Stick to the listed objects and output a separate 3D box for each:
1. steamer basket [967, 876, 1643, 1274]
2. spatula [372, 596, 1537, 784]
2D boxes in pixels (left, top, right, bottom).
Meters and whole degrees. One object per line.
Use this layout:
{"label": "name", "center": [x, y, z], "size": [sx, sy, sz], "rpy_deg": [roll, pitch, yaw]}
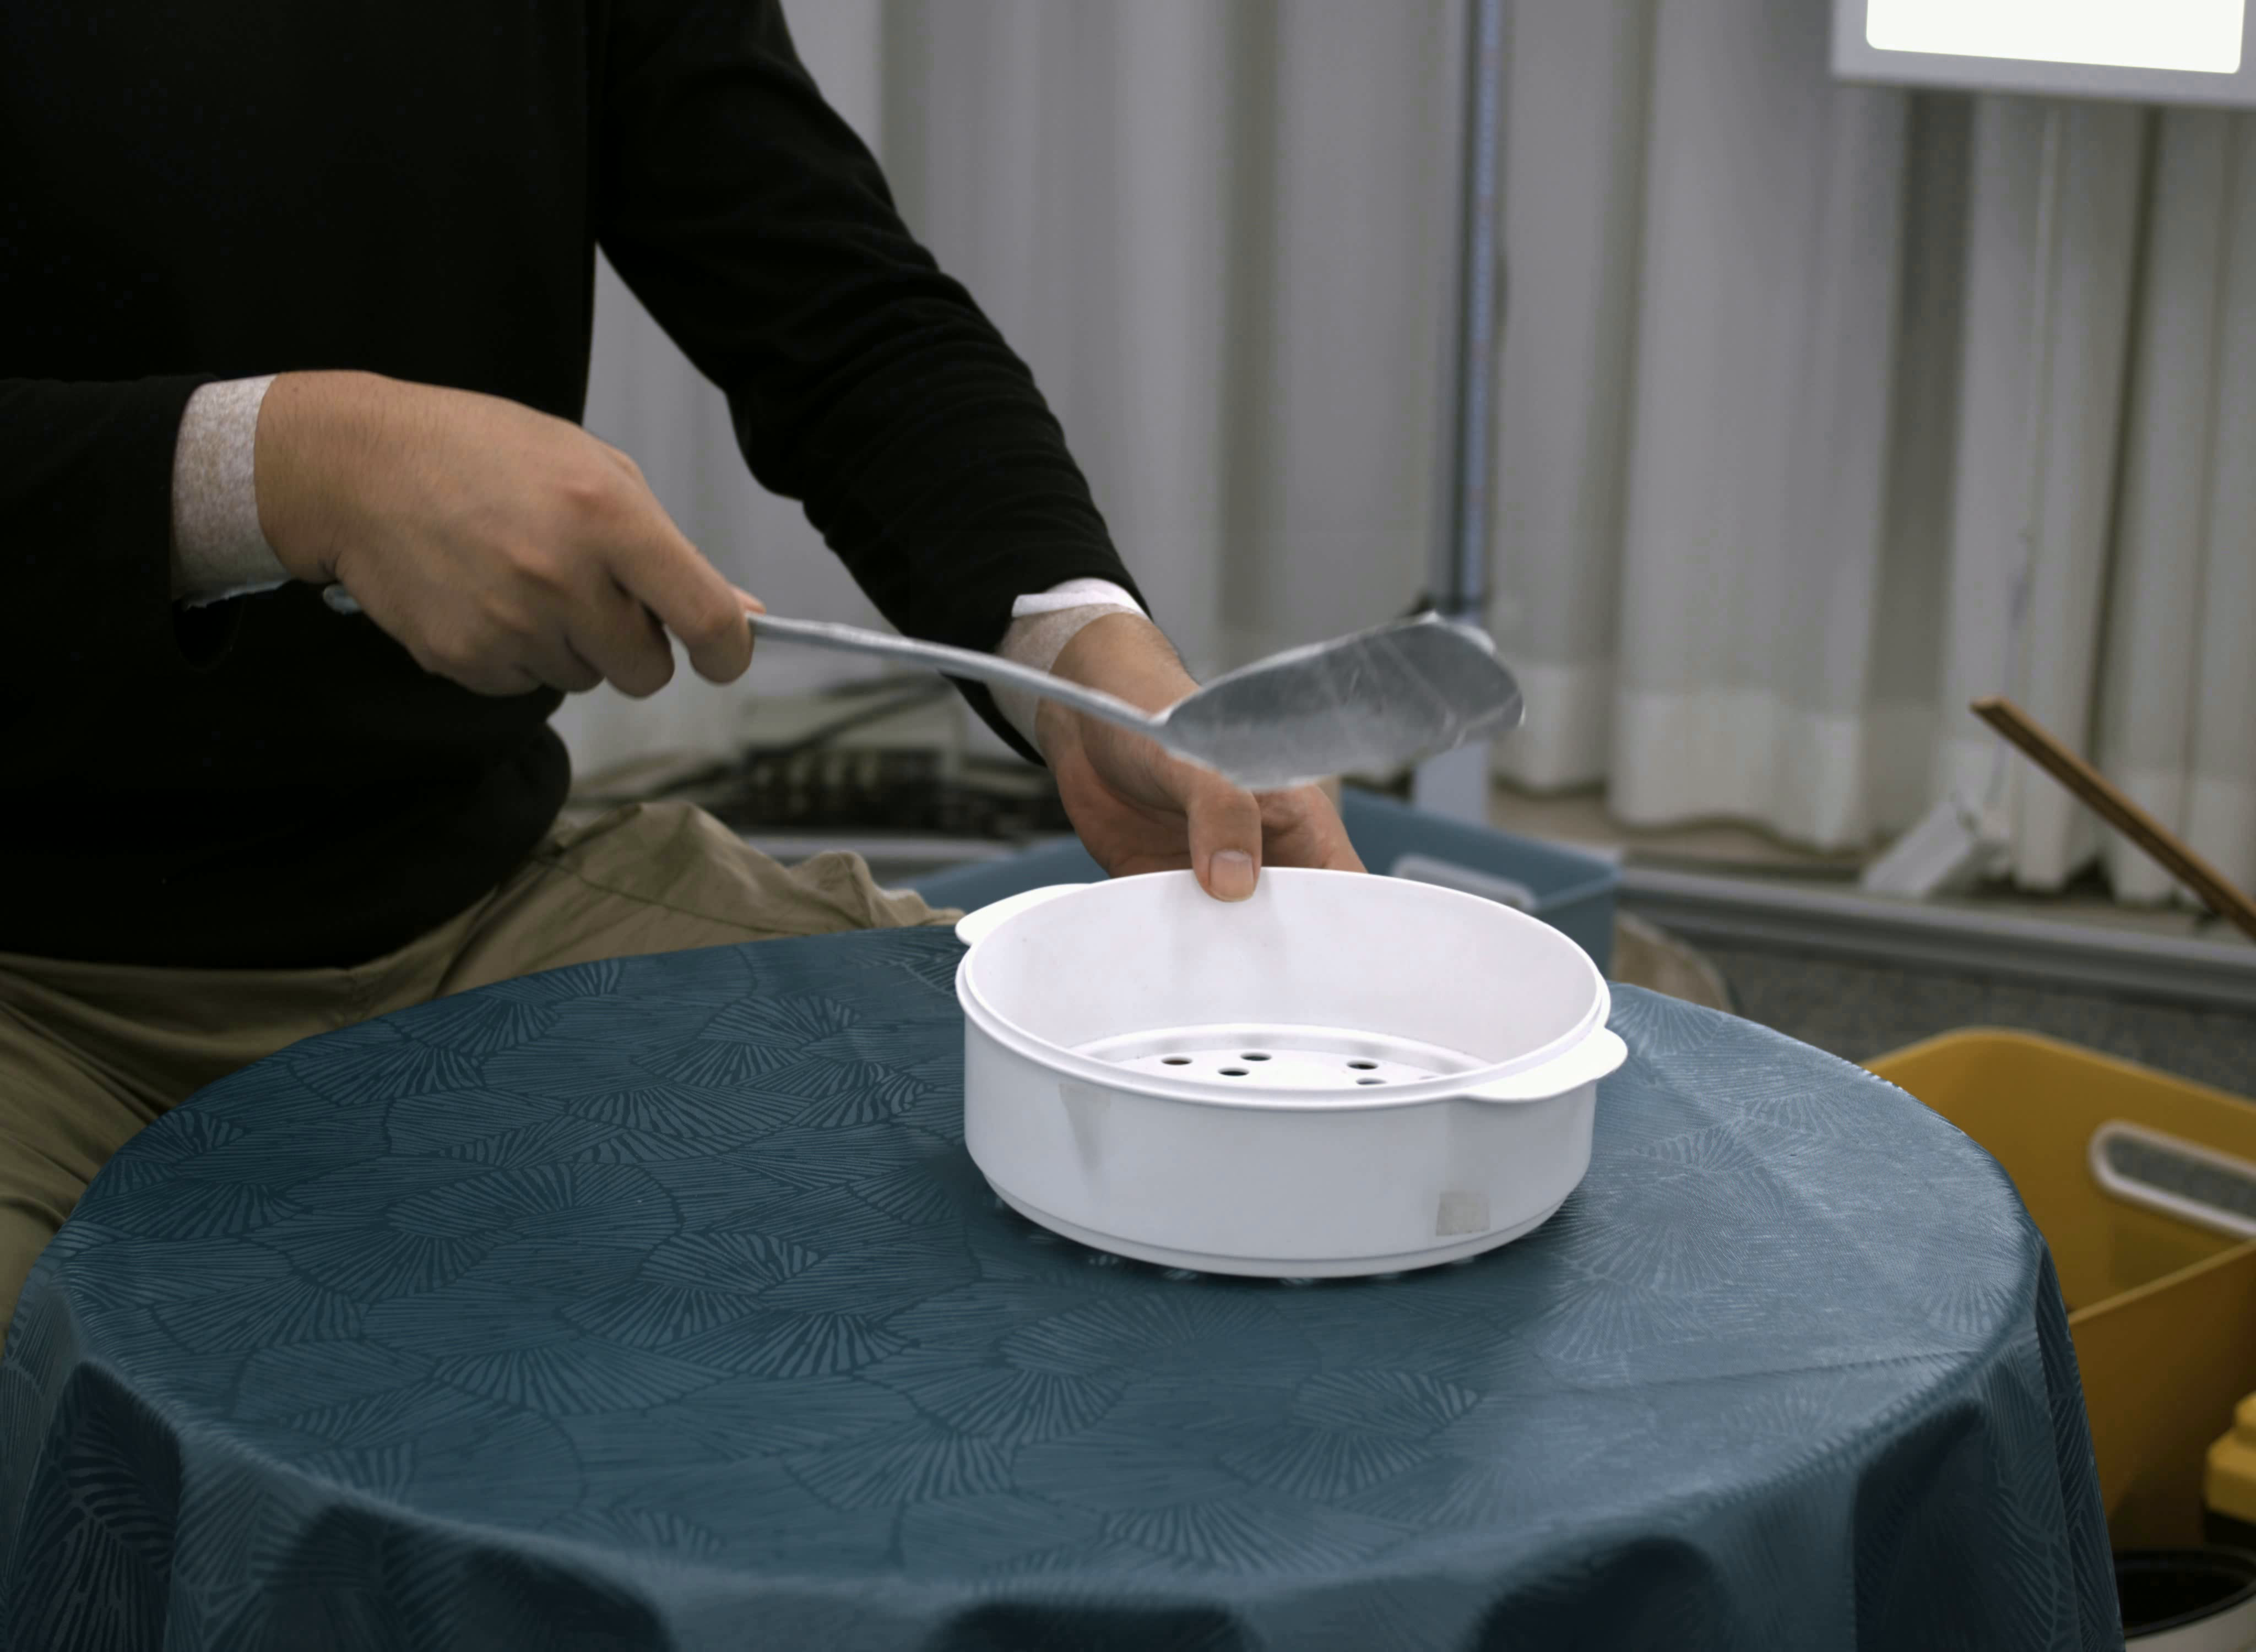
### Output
{"label": "steamer basket", "center": [0.051, 0.076, 1.612], "size": [0.227, 0.070, 0.203], "rpy_deg": [15, 22, 36]}
{"label": "spatula", "center": [-0.061, -0.052, 1.546], "size": [0.361, 0.045, 0.100], "rpy_deg": [10, -14, 19]}
